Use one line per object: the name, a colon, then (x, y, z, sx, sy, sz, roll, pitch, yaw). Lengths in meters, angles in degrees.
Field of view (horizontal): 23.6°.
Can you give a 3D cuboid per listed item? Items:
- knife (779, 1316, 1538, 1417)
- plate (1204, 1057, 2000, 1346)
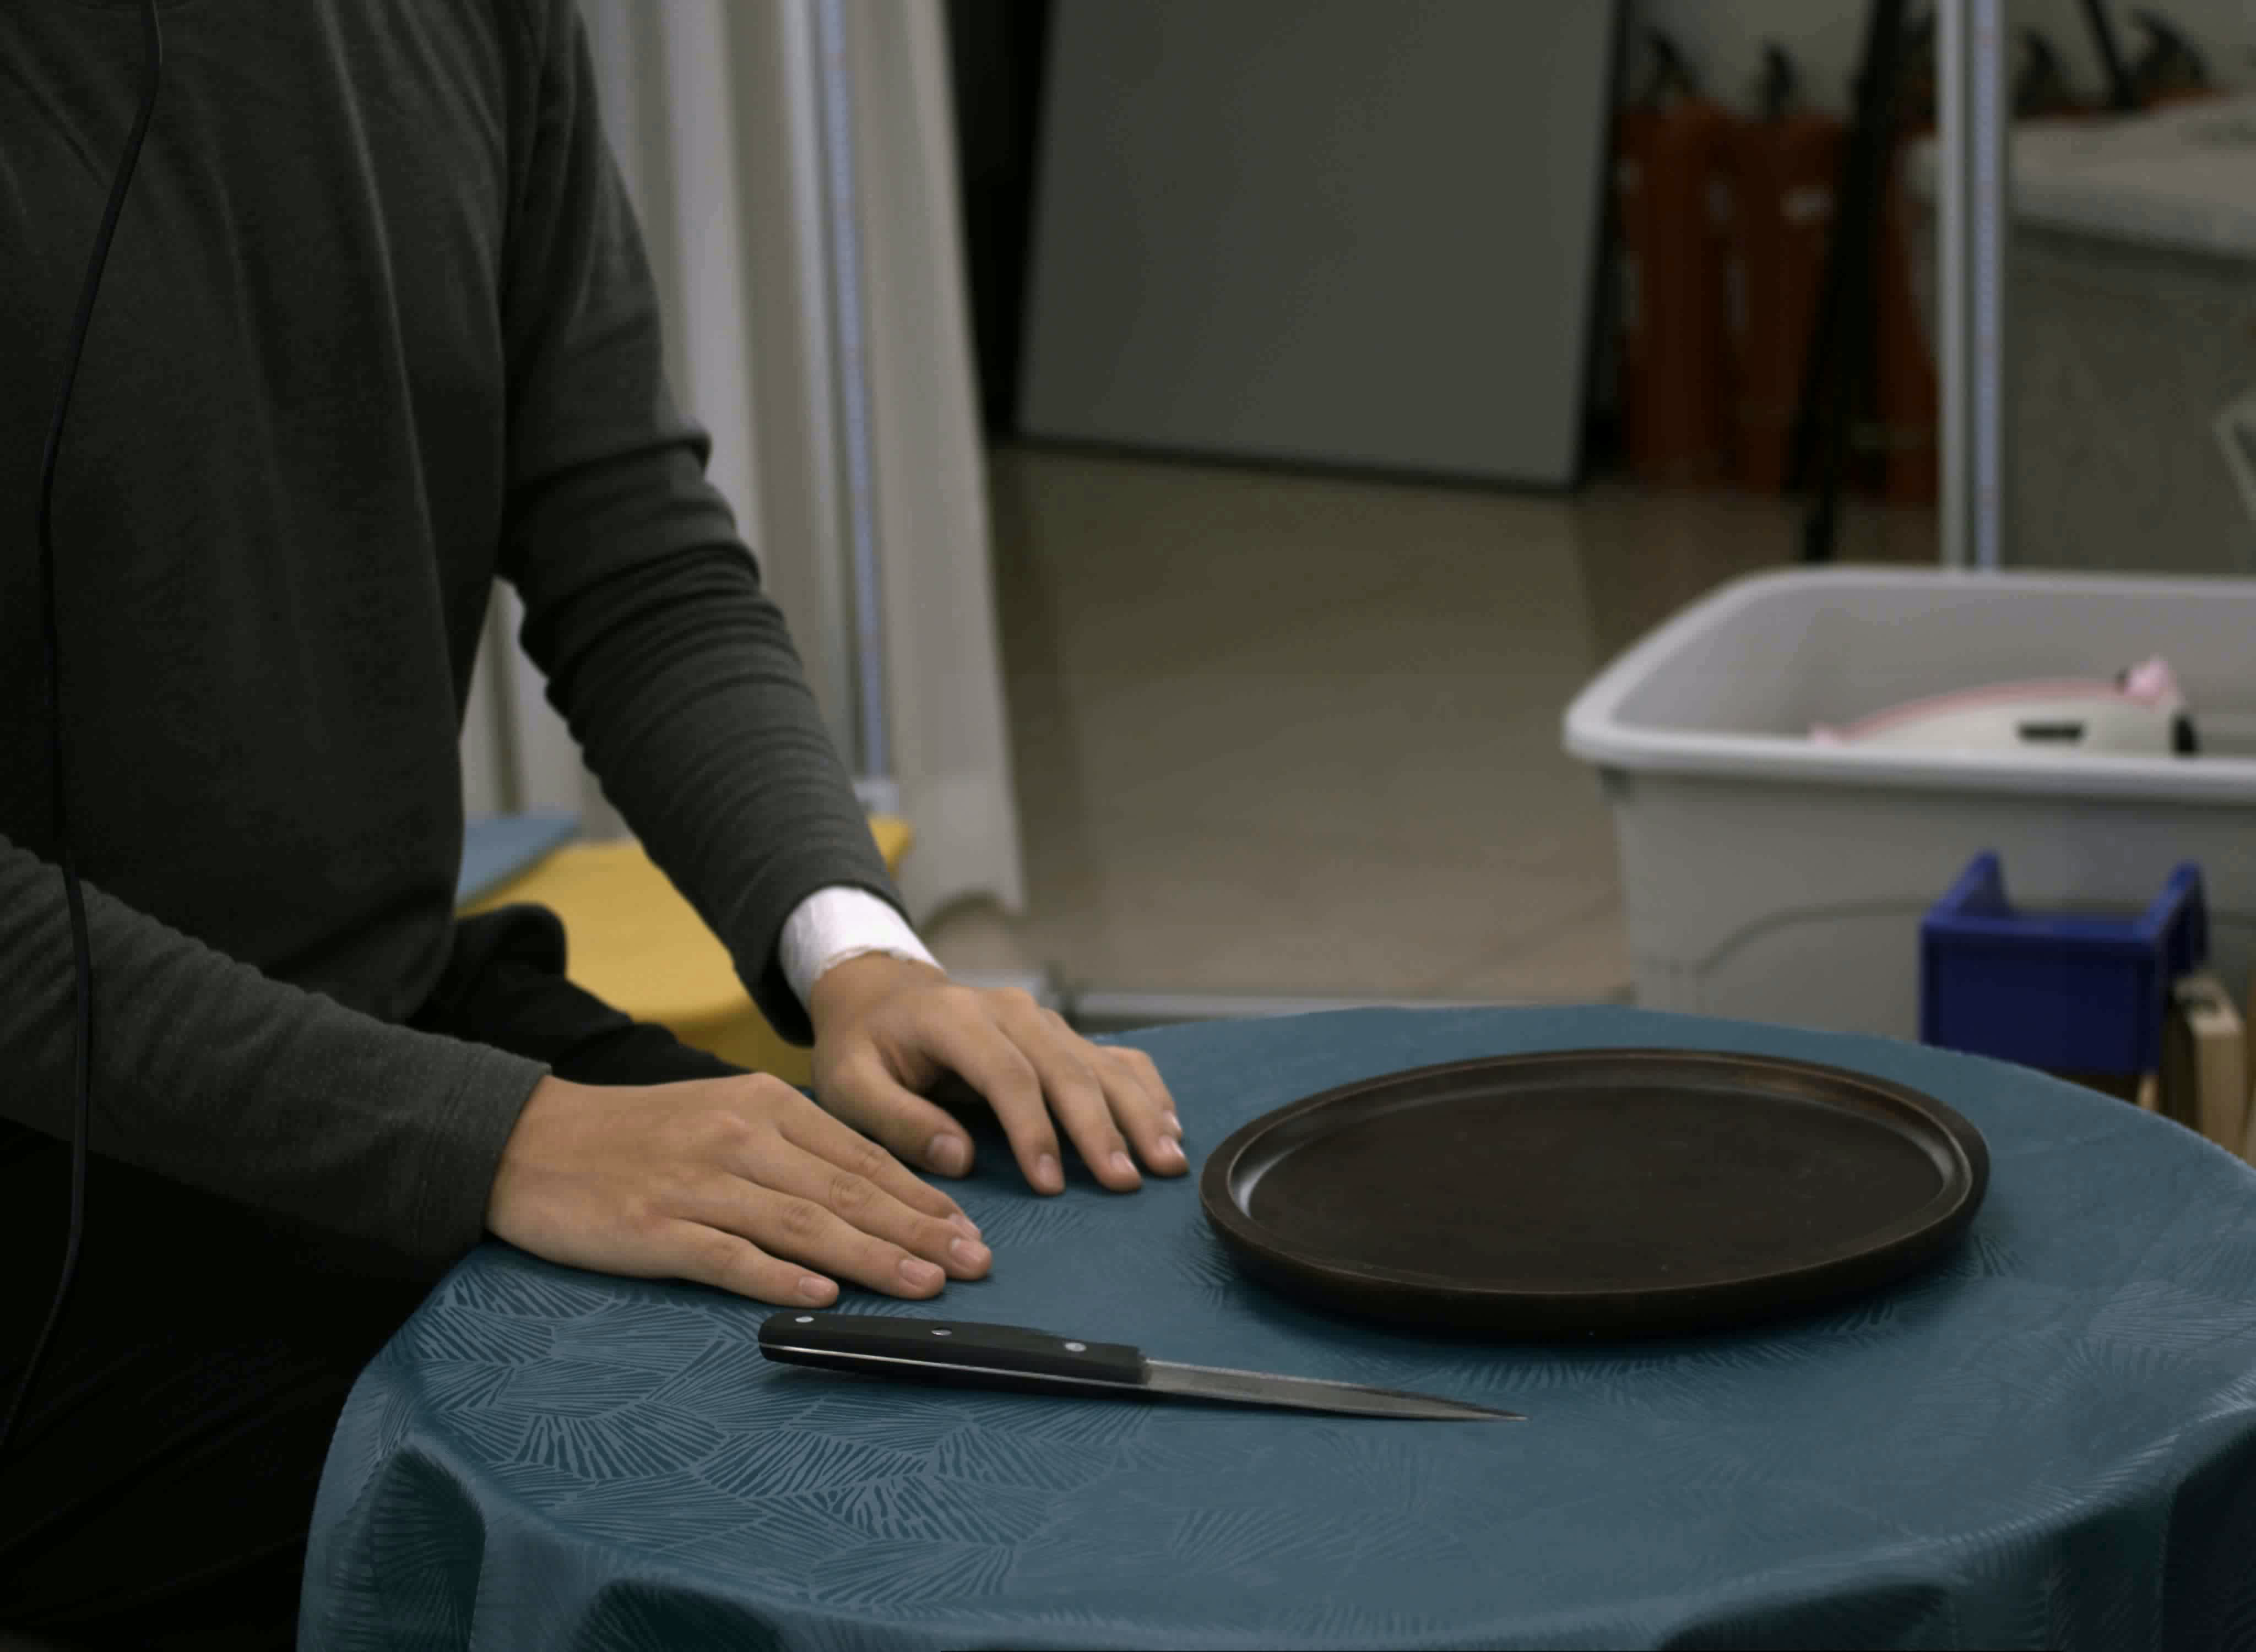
knife: (0.006, 0.162, 1.581, 0.237, 0.016, 0.024, 4, 18, 19)
plate: (0.149, 0.116, 1.703, 0.251, 0.029, 0.255, -3, 14, 0)
